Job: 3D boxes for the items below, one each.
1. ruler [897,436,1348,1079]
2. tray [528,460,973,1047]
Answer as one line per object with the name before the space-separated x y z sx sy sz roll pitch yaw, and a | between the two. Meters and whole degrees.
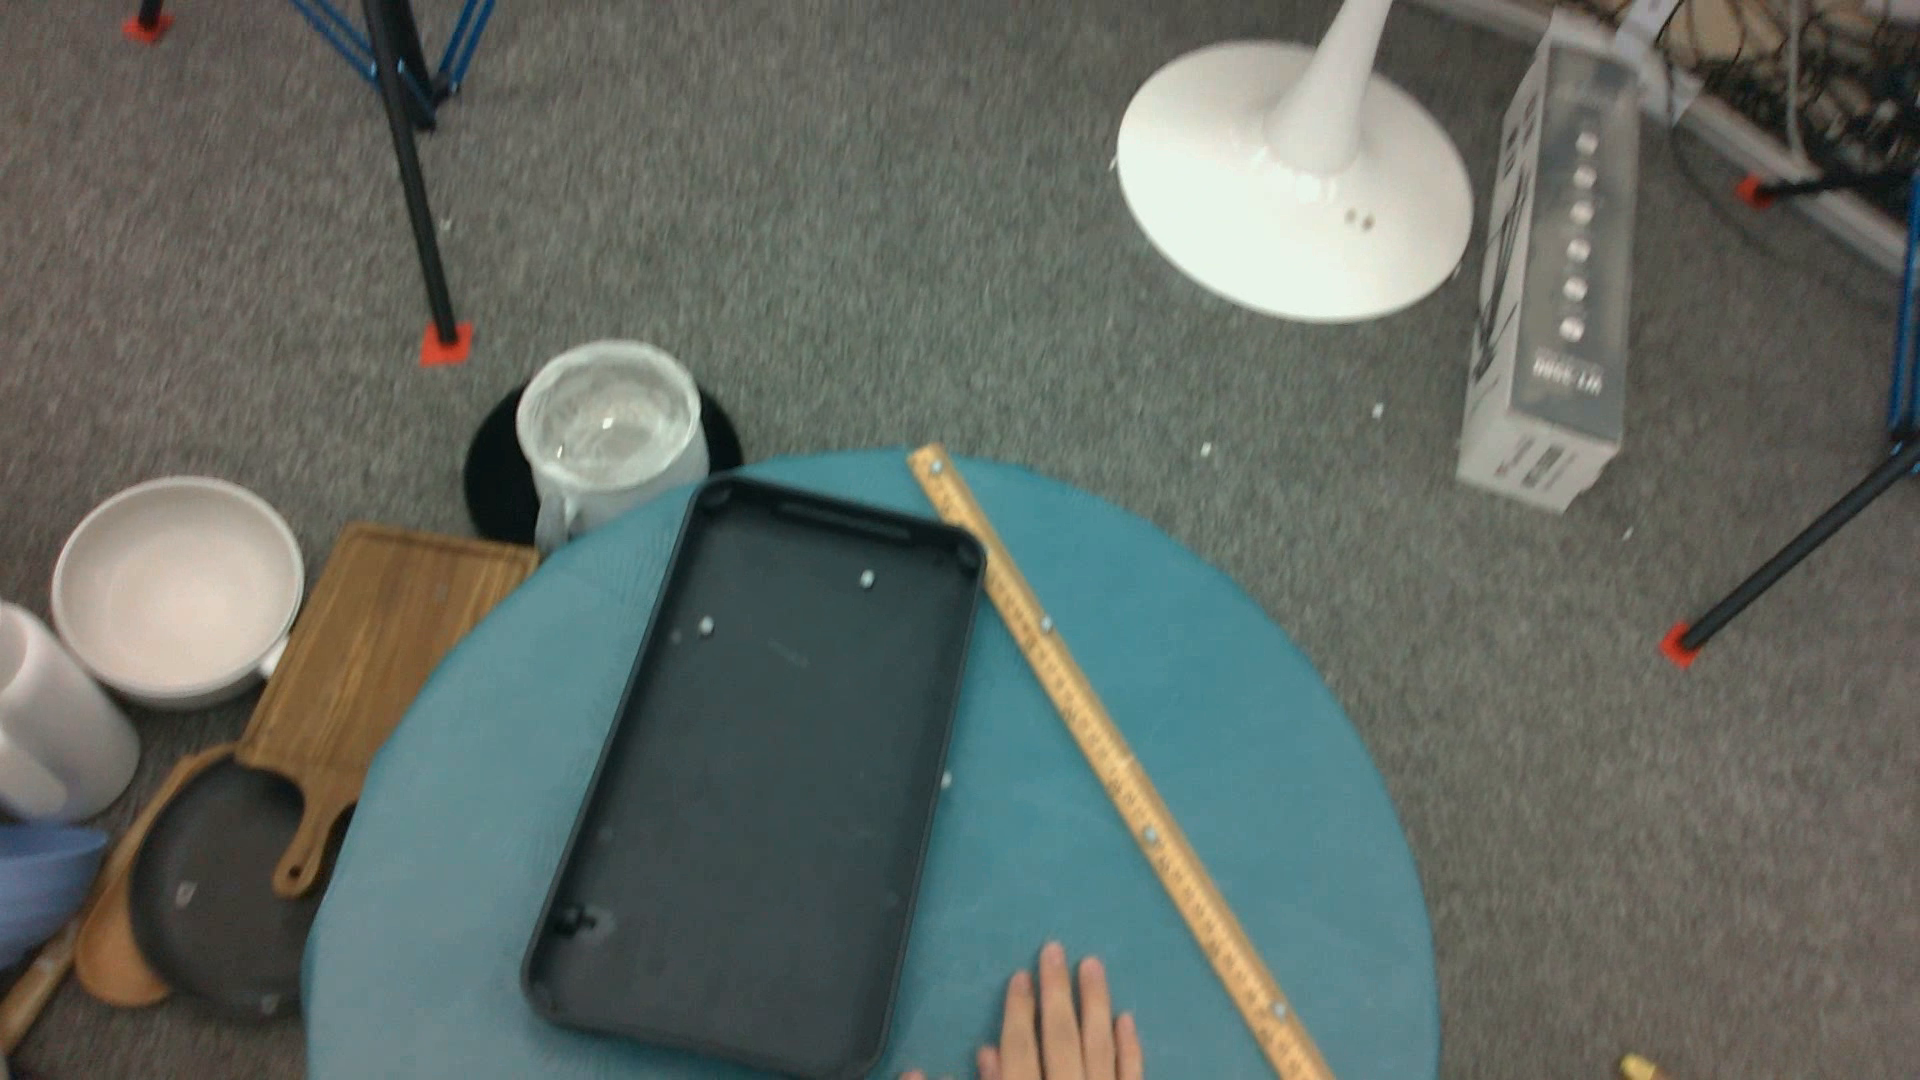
ruler | 0.091 0.131 0.800 0.027 0.006 0.501 -24 65 -19
tray | -0.104 0.106 0.766 0.184 0.037 0.319 11 58 -2
